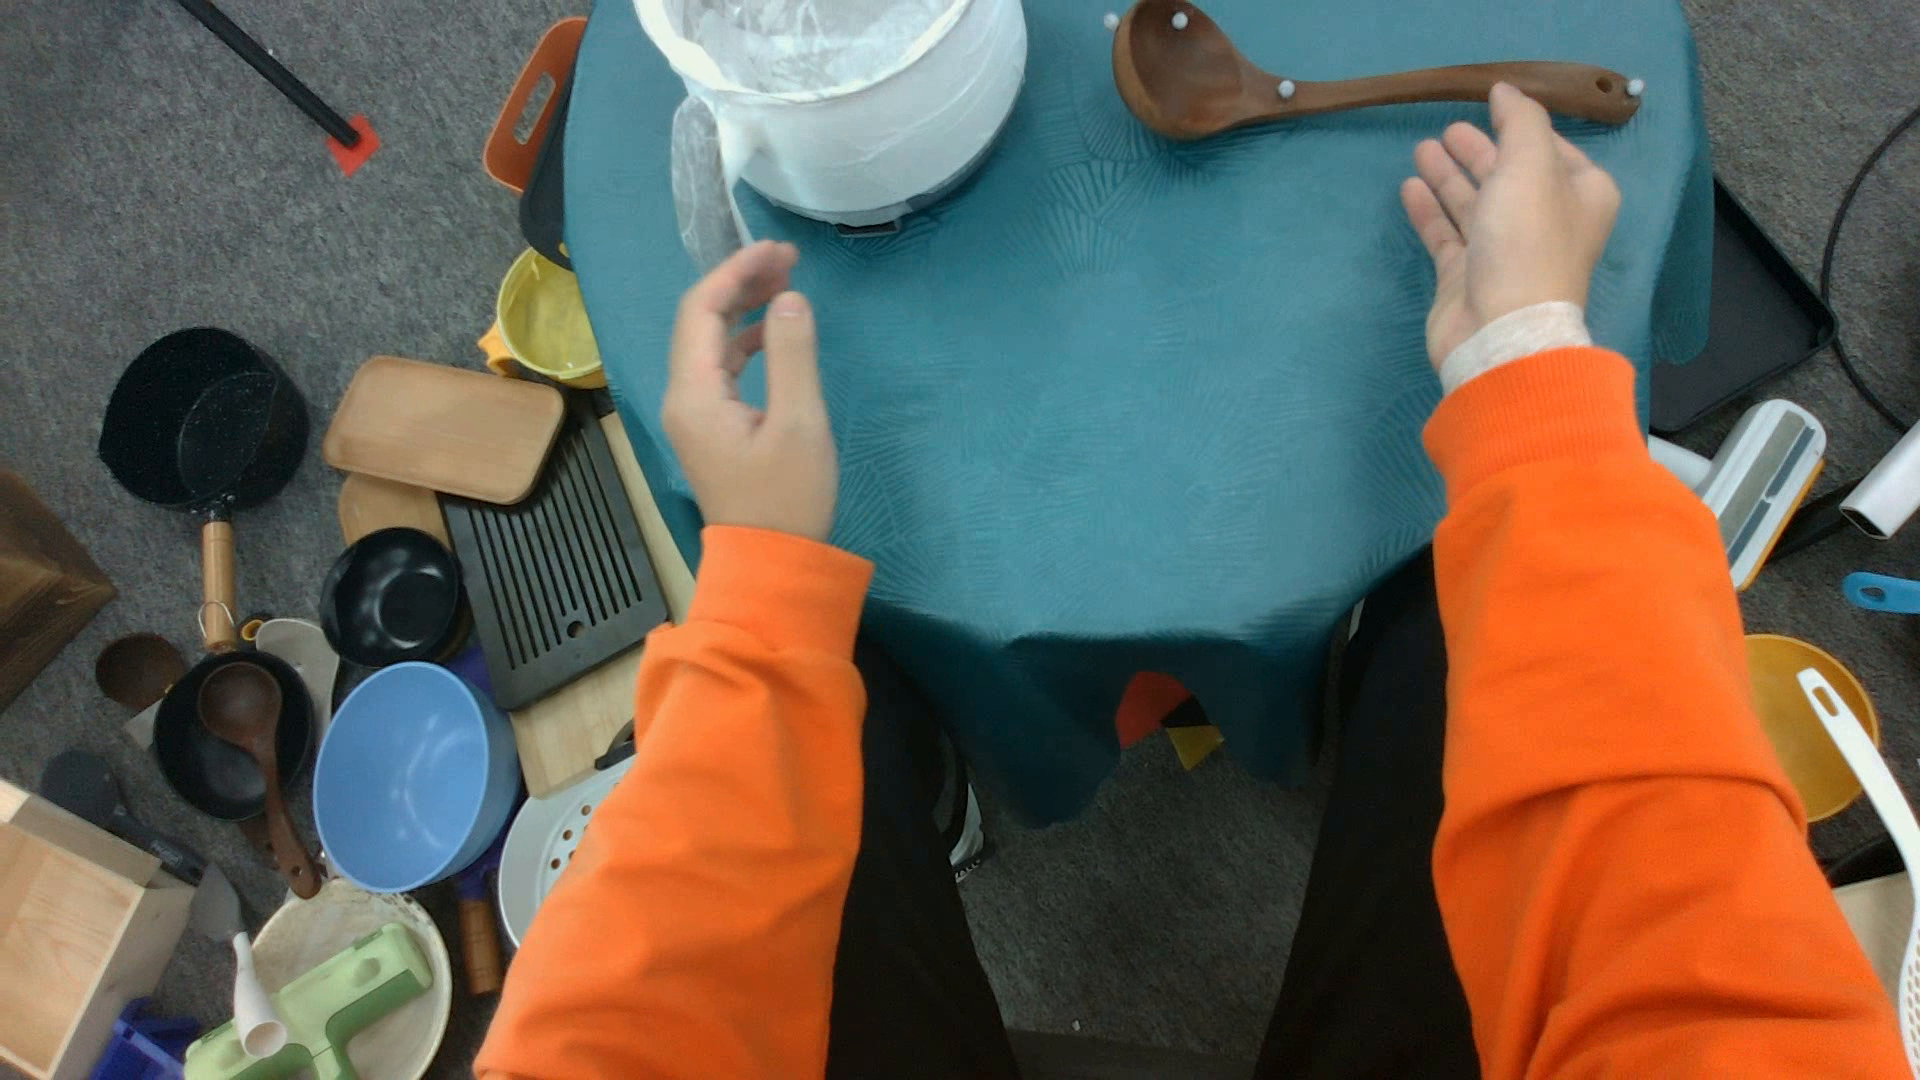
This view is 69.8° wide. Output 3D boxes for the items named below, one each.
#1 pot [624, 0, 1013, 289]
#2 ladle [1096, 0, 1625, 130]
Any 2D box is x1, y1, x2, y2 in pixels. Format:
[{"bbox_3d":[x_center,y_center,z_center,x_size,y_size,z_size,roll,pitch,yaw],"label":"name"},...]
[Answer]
[{"bbox_3d":[-0.078,-0.244,0.689,0.178,0.136,0.234,25,80,15],"label":"pot"},{"bbox_3d":[0.198,-0.237,0.682,0.260,0.065,0.076,4,78,10],"label":"ladle"}]
